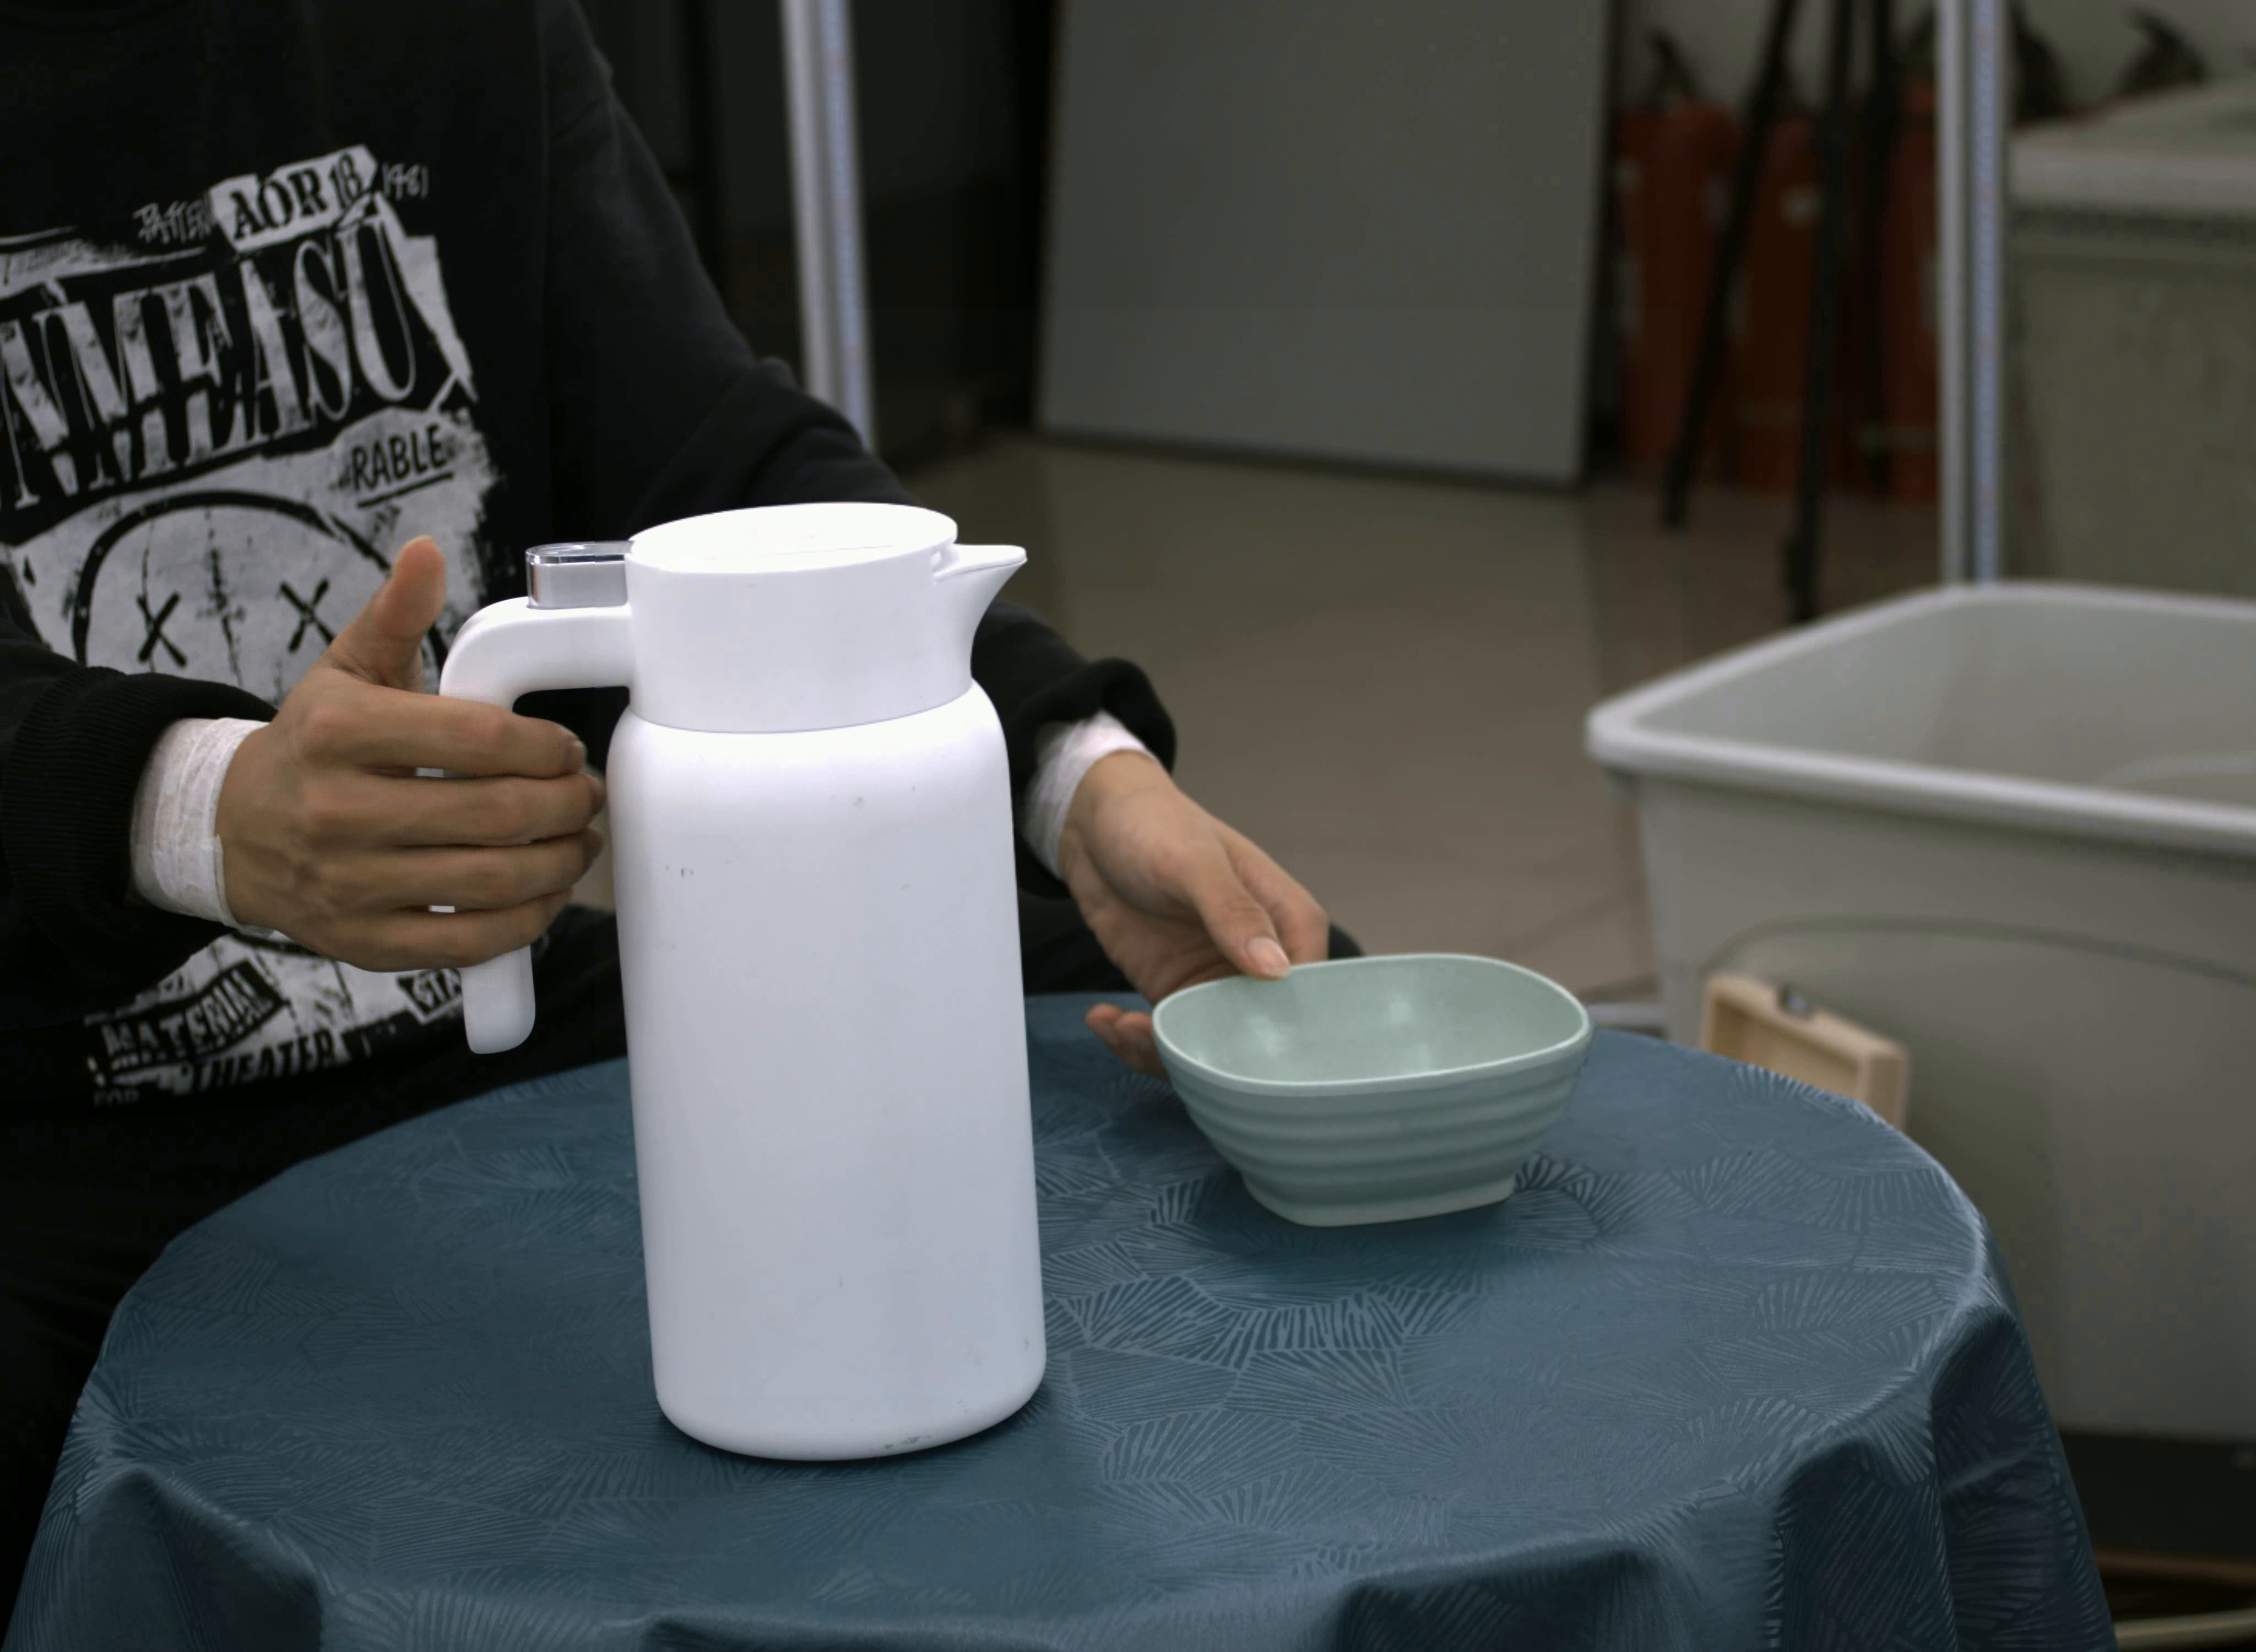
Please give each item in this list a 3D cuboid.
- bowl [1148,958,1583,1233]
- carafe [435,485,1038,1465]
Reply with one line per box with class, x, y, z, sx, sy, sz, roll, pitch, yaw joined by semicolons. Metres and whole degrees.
bowl;0.078;0.091;1.759;0.149;0.059;0.152;-4;14;0
carafe;-0.108;0.043;1.563;0.170;0.272;0.124;-4;15;-2
